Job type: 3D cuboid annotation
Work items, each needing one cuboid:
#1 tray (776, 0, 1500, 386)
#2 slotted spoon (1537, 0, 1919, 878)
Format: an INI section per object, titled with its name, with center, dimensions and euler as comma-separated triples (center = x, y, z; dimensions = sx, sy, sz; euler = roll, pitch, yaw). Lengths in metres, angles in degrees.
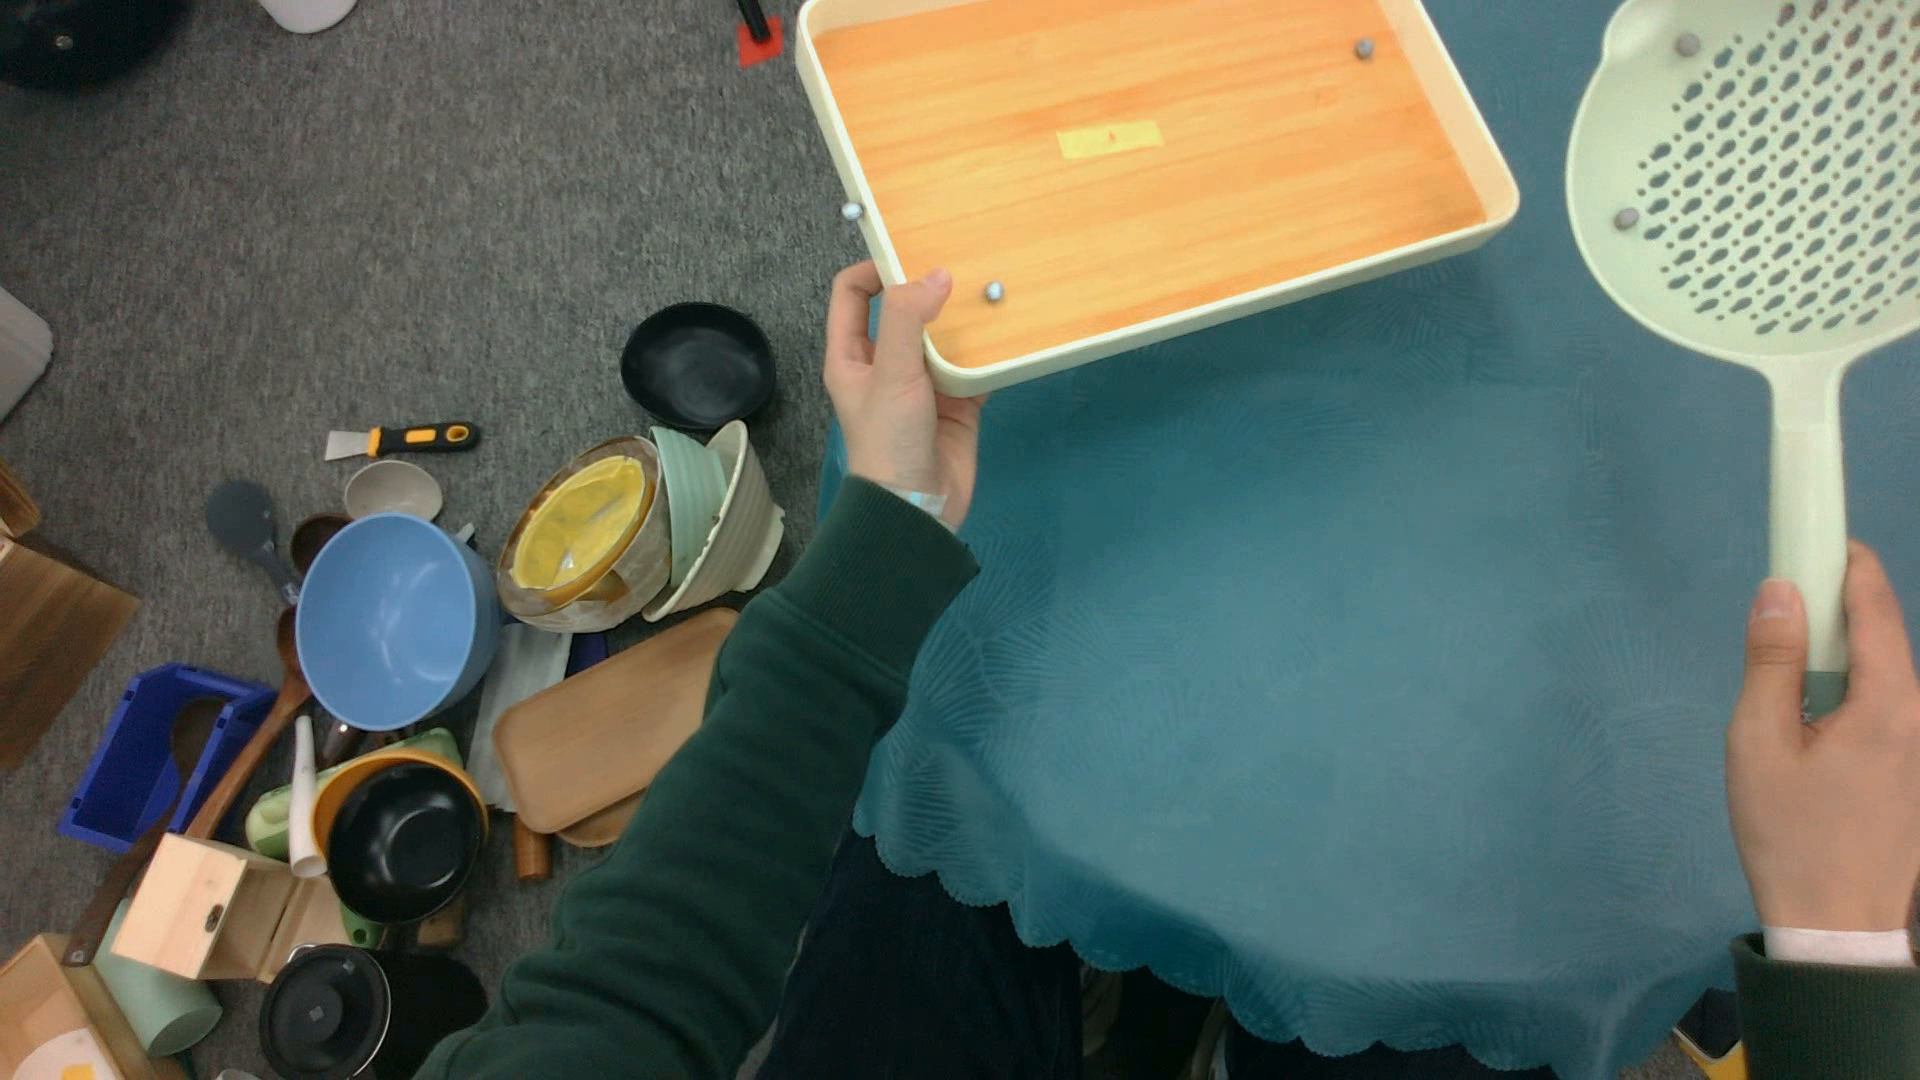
[tray]
center = 0.085, -0.193, 0.627
dimensions = 0.301, 0.027, 0.192
euler = -19, 78, -17
[slotted spoon]
center = 0.305, -0.059, 0.511
dimensions = 0.169, 0.075, 0.359
euler = -3, 76, 45
